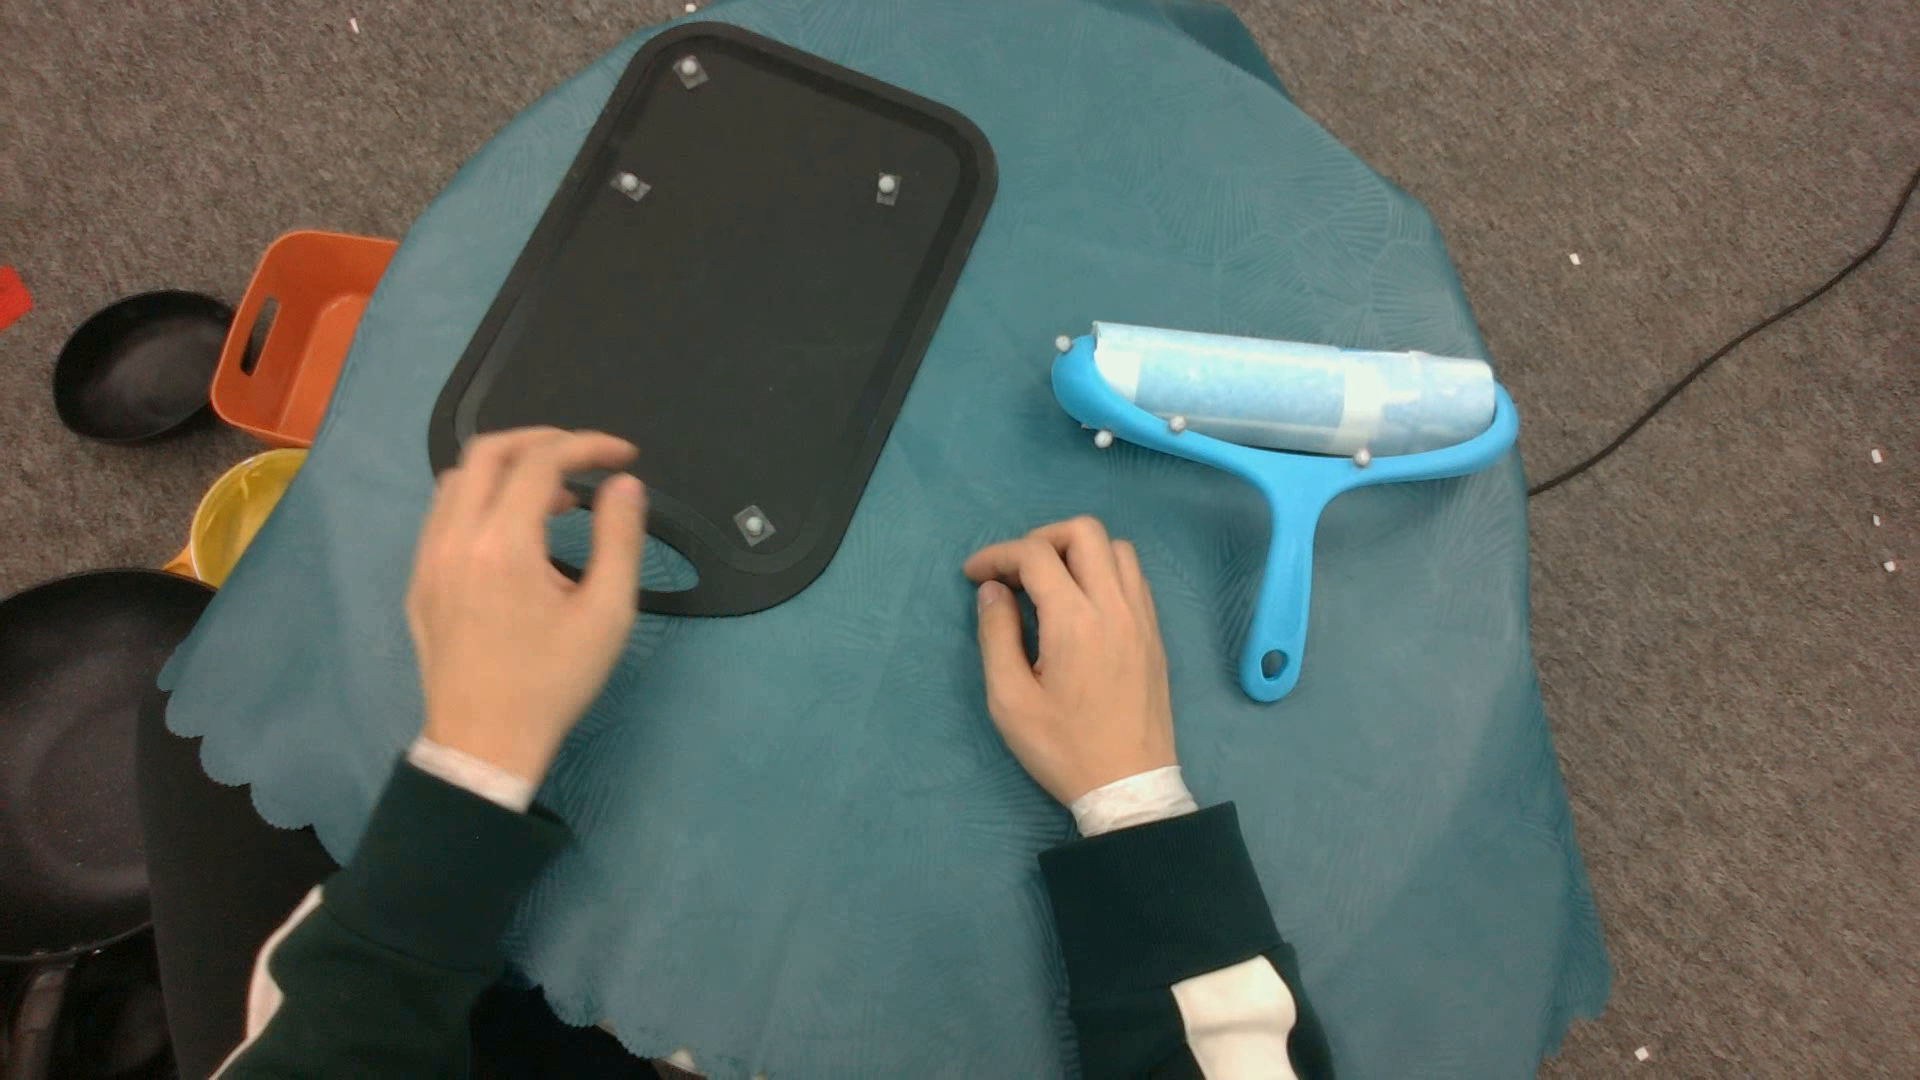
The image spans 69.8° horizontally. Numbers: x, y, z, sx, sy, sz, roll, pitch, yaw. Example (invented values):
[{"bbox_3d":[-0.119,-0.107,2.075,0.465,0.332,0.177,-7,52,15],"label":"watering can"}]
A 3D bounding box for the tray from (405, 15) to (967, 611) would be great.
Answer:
[{"bbox_3d":[-0.135,-0.121,0.700,0.211,0.010,0.326,20,71,2],"label":"tray"}]

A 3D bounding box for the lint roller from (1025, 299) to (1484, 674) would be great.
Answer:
[{"bbox_3d":[0.146,-0.030,0.665,0.229,0.067,0.181,2,70,-6],"label":"lint roller"}]
